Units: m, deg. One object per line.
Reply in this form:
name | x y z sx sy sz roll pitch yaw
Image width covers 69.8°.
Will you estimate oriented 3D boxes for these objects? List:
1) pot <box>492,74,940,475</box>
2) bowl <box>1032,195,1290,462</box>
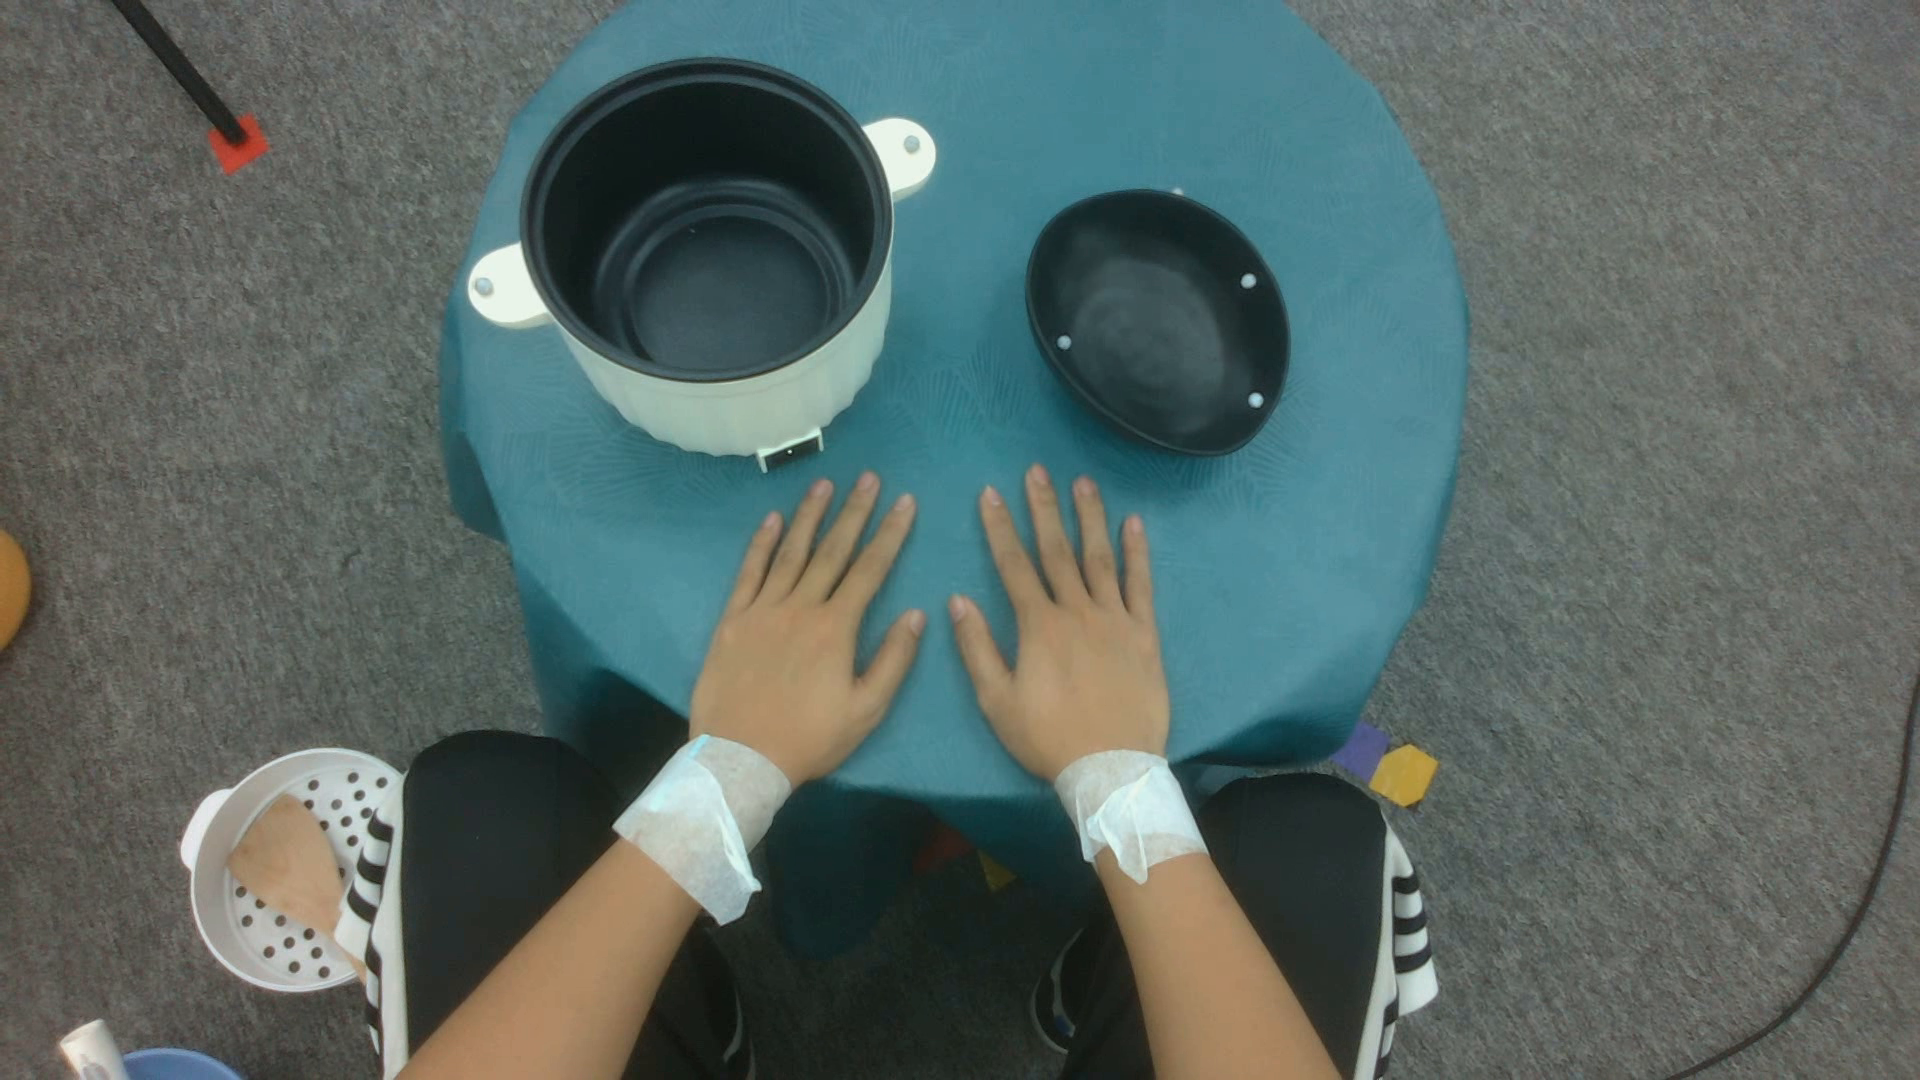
pot | -0.127 -0.142 0.758 0.241 0.142 0.191 -23 77 -10
bowl | 0.114 -0.116 0.798 0.137 0.066 0.170 -33 76 -11
